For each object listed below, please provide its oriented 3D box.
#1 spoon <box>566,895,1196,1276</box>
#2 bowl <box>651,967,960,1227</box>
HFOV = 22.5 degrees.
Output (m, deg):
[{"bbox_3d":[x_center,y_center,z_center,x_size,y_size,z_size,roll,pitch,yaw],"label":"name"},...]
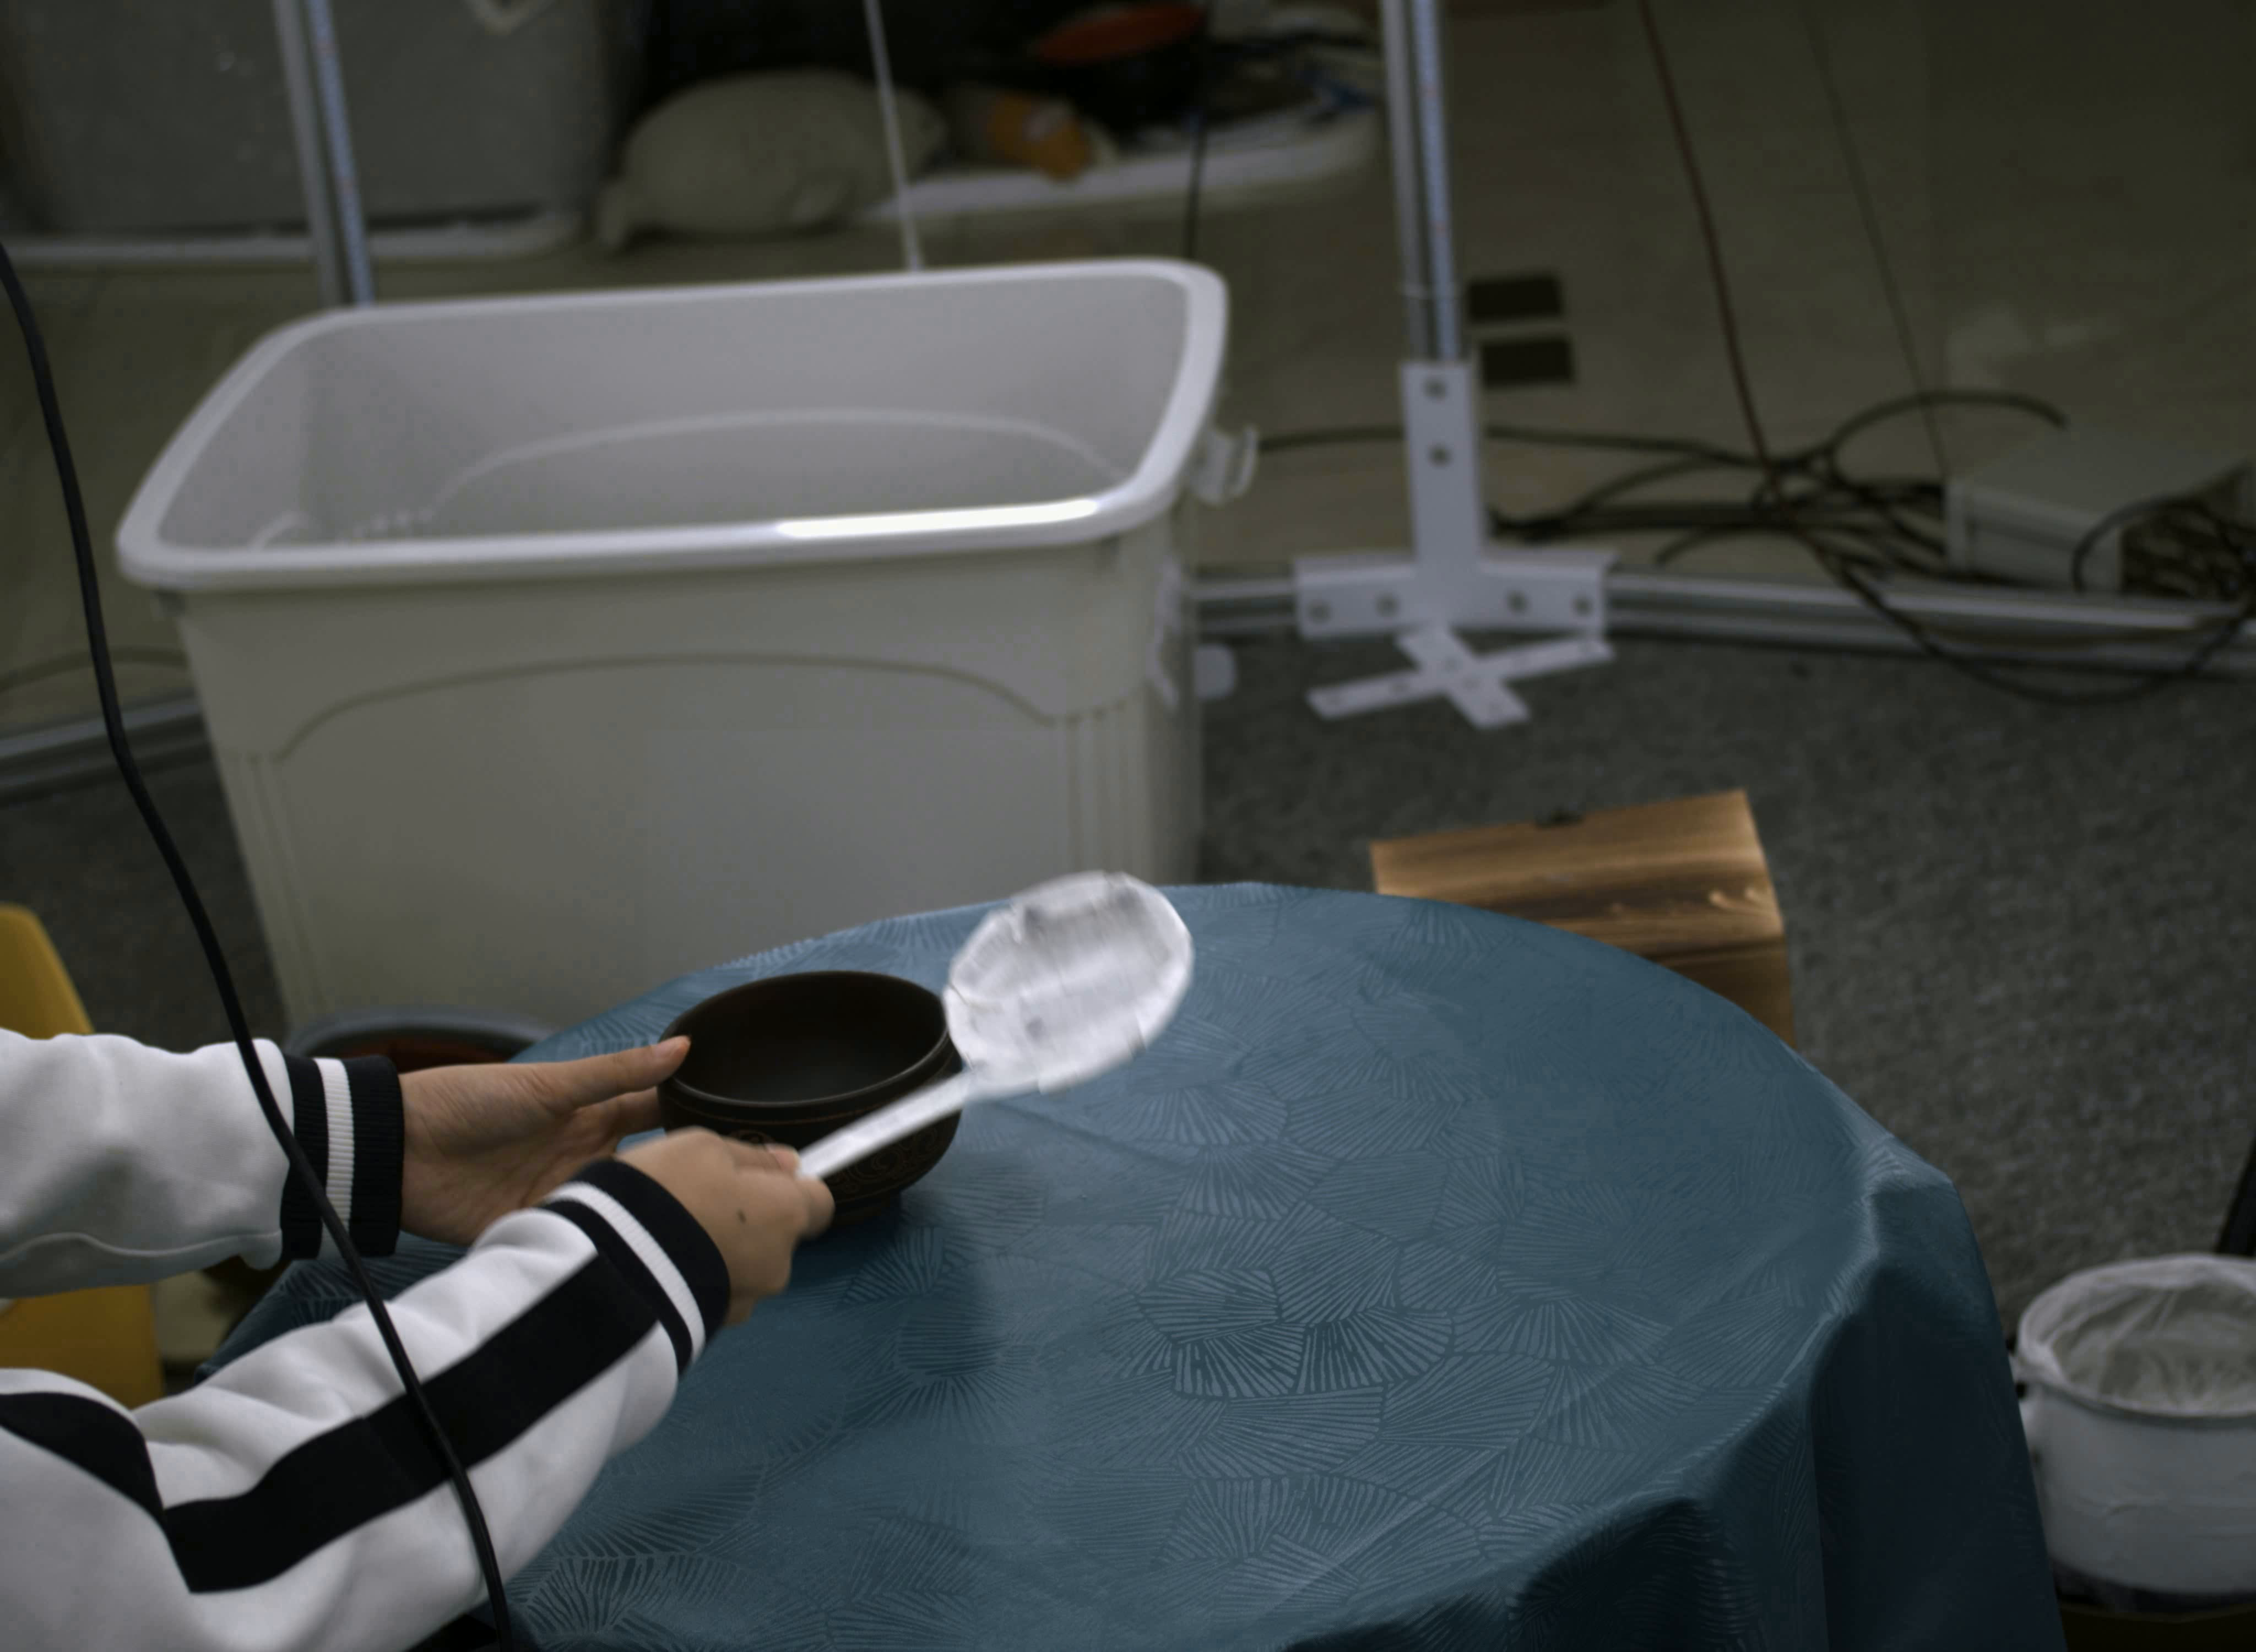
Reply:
[{"bbox_3d":[-0.091,0.087,1.974,0.100,0.060,0.275,23,30,40],"label":"spoon"},{"bbox_3d":[-0.119,0.109,2.155,0.118,0.071,0.116,-6,25,3],"label":"bowl"}]
